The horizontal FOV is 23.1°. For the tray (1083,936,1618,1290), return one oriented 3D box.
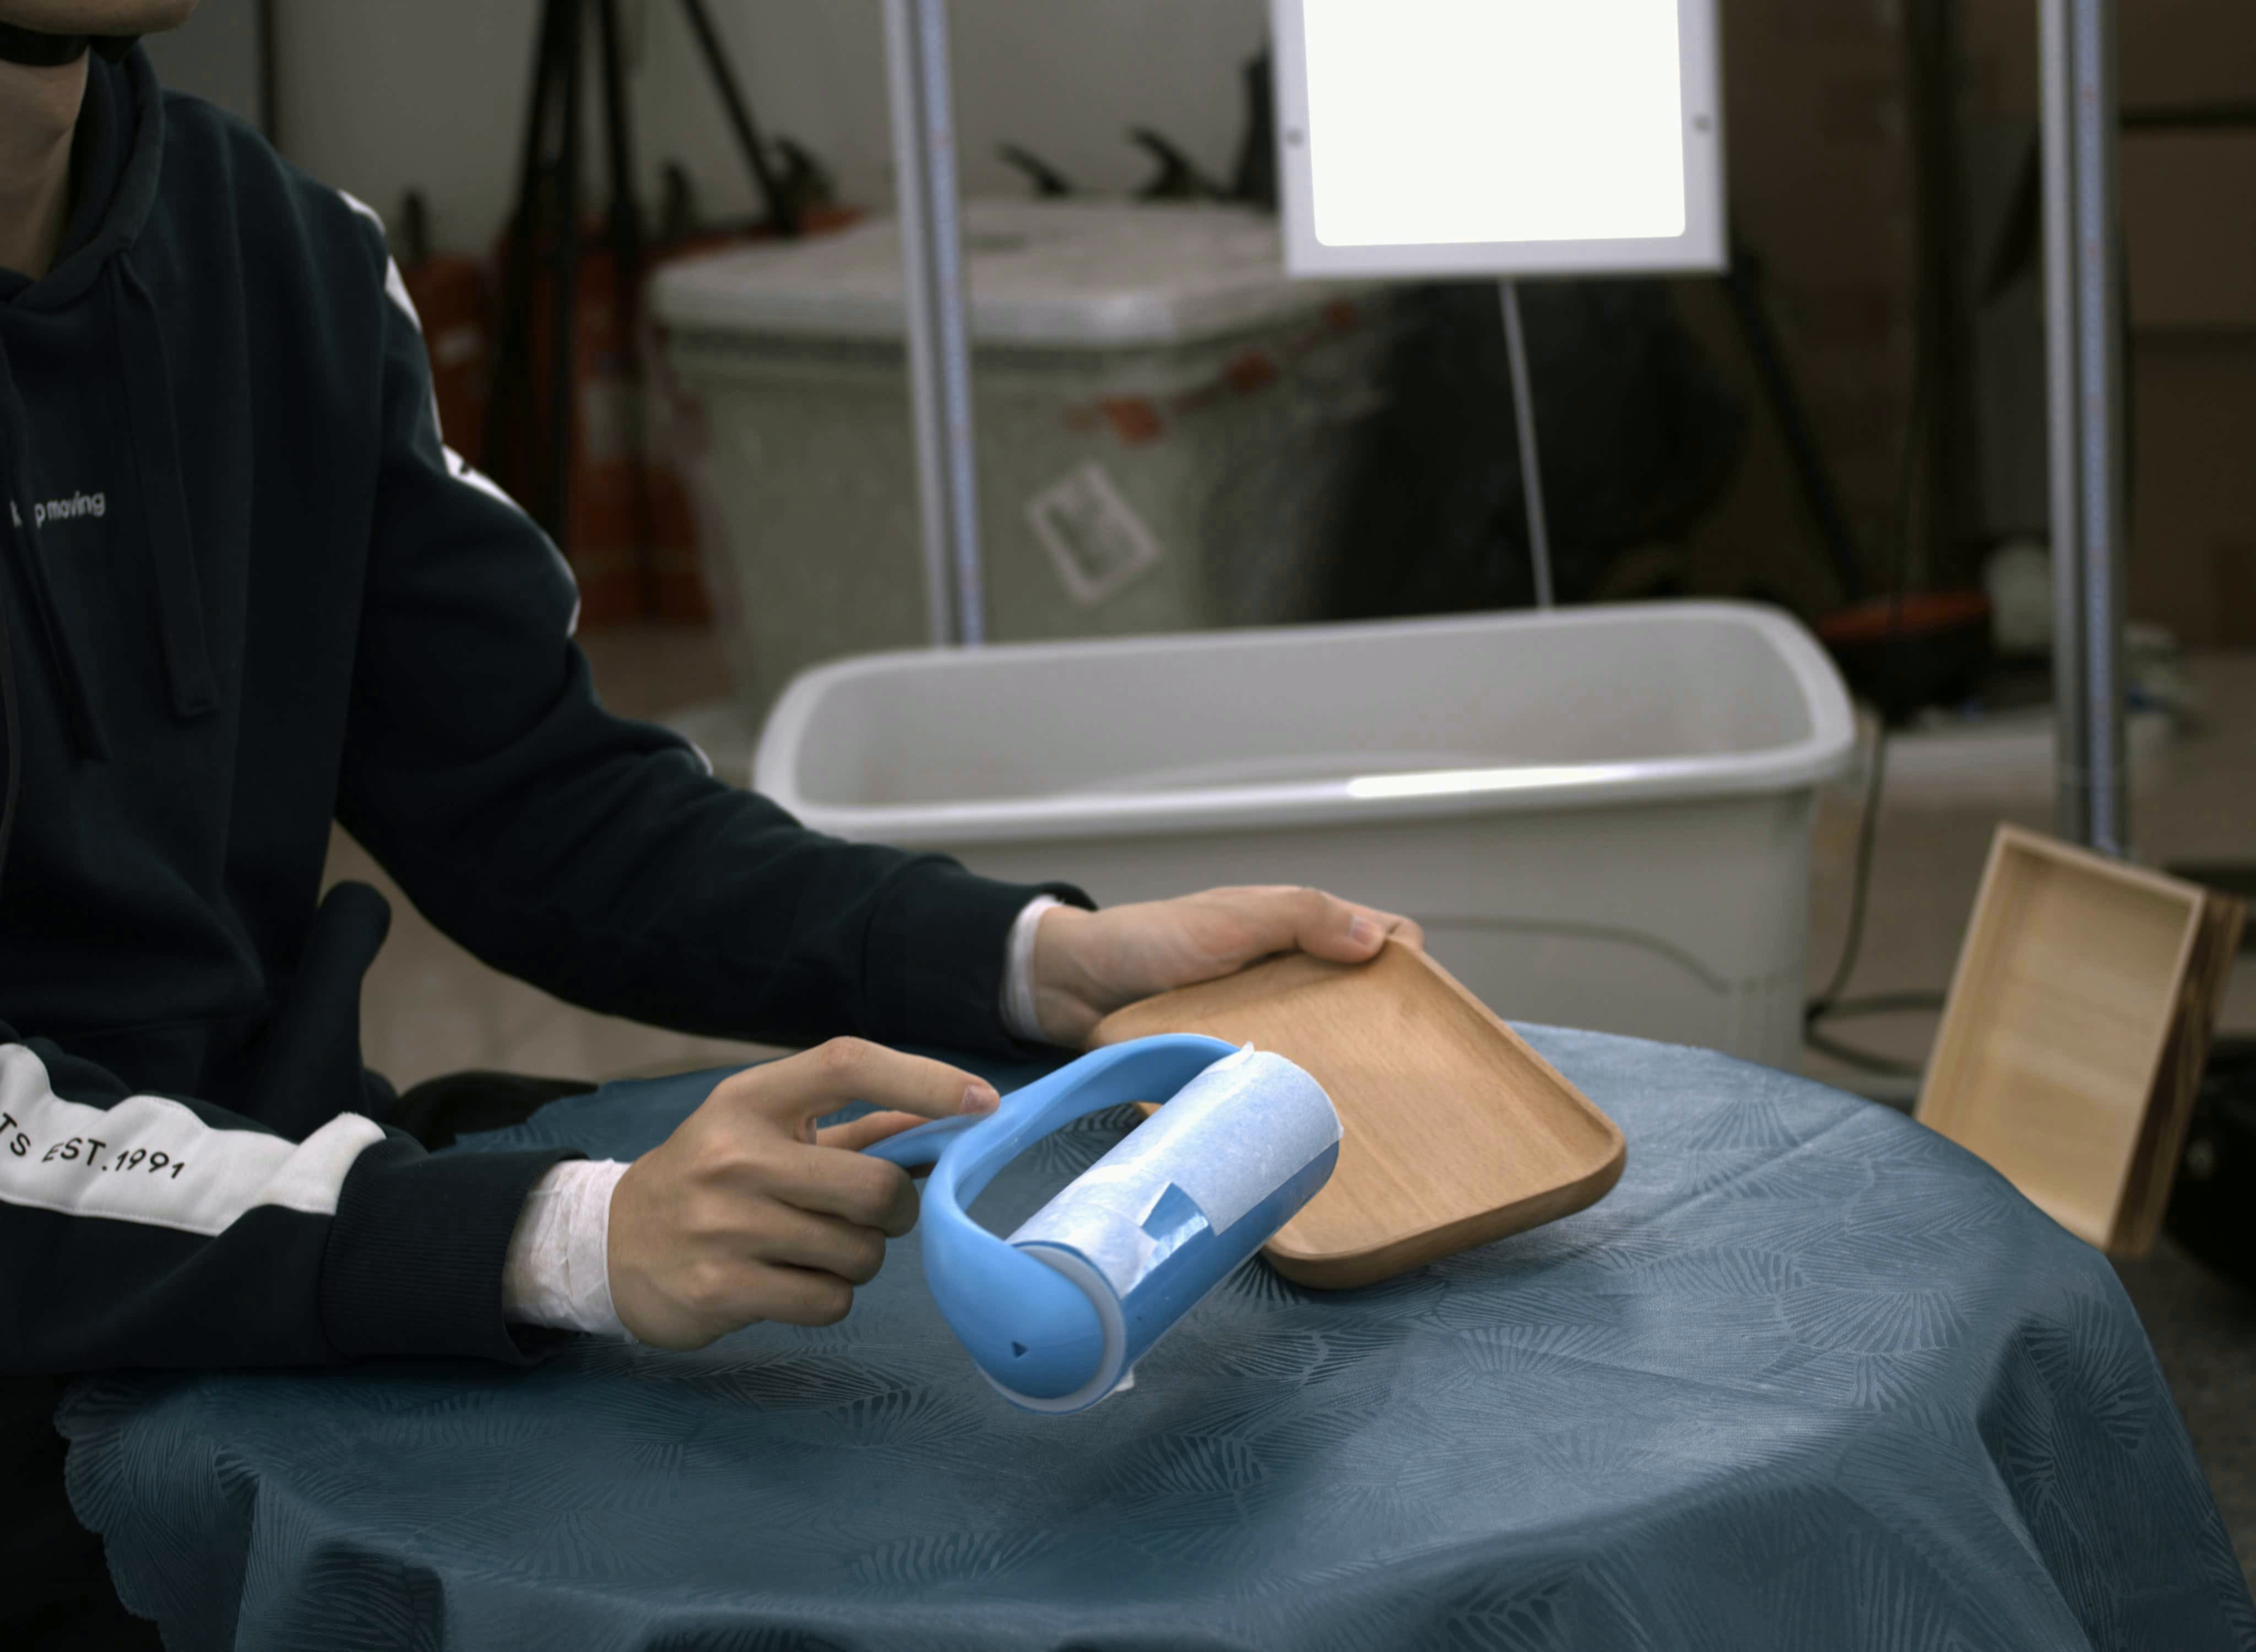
[{"bbox_3d":[0.074,0.095,1.883,0.129,0.023,0.253,-21,22,-9],"label":"tray"}]

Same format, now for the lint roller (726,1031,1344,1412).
[{"bbox_3d":[-0.044,0.120,1.691,0.182,0.068,0.225,-2,16,20],"label":"lint roller"}]
